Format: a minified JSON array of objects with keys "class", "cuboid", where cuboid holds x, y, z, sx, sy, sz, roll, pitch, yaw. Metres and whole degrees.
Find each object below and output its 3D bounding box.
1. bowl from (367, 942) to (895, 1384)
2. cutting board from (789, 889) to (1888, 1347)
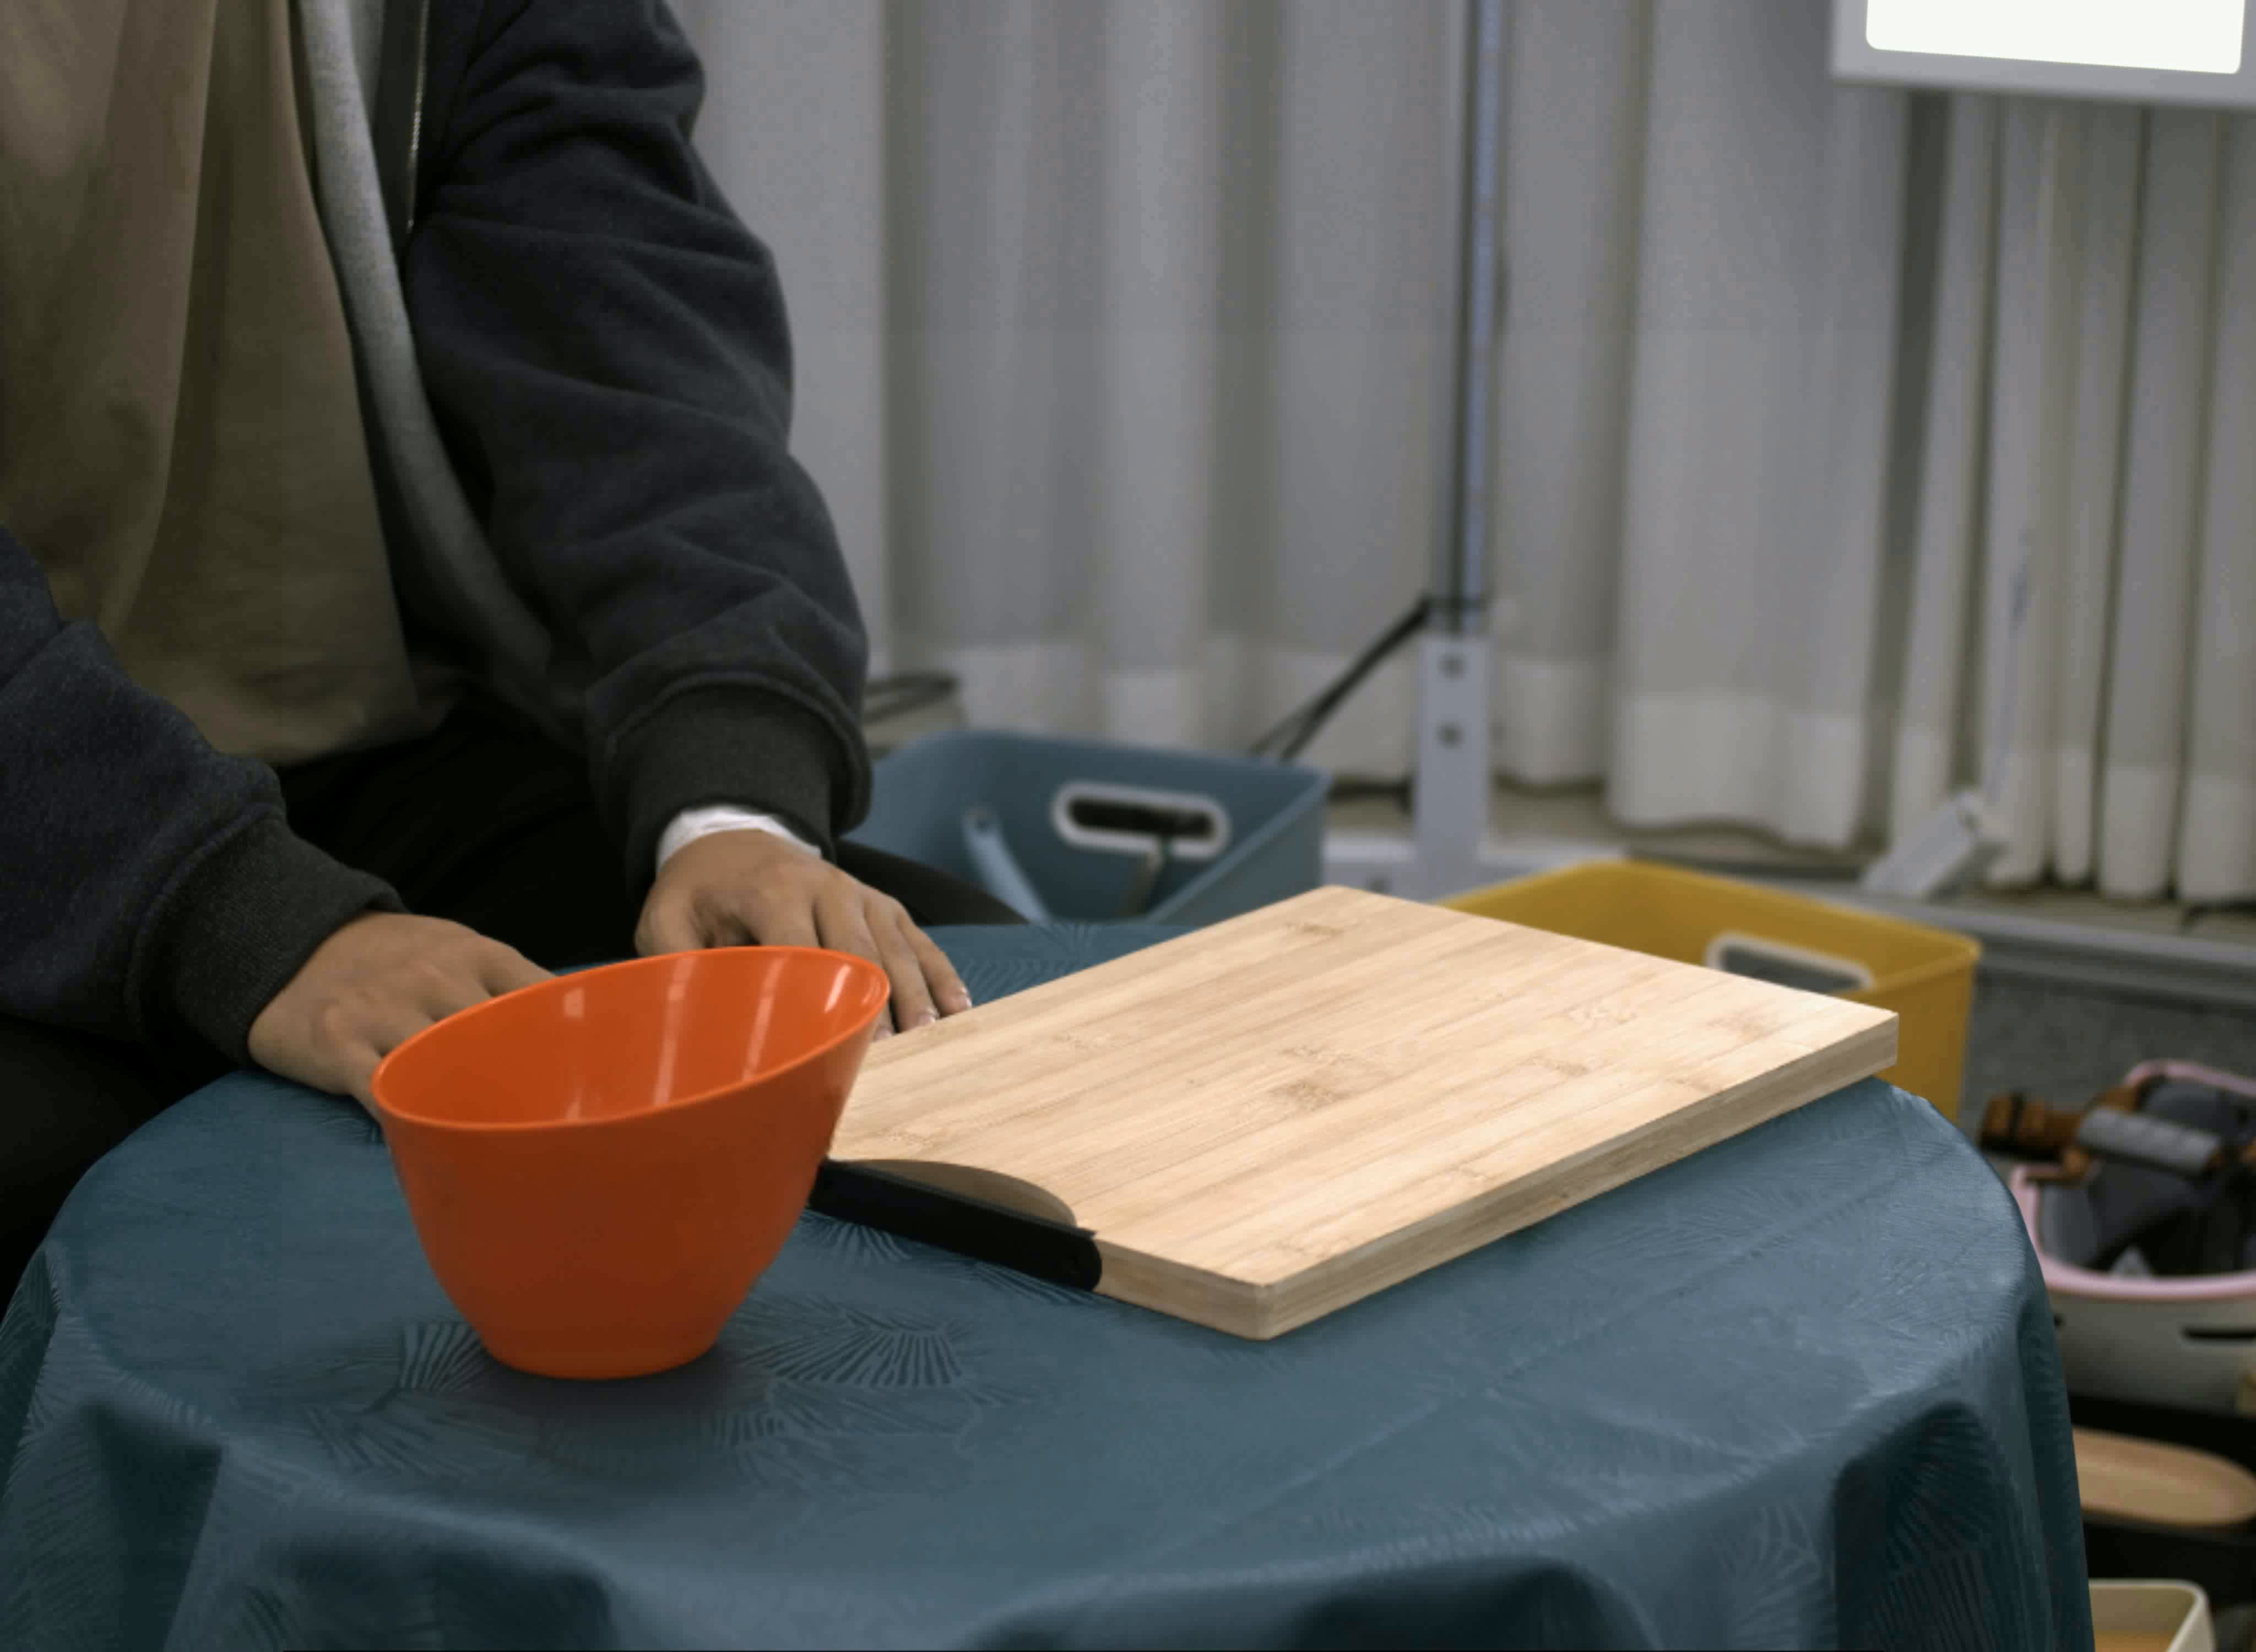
[{"class":"bowl","cuboid":[-0.139,0.097,1.481,0.147,0.105,0.147,1,18,0]},{"class":"cutting board","cuboid":[0.051,0.086,1.689,0.247,0.024,0.350,12,19,37]}]
